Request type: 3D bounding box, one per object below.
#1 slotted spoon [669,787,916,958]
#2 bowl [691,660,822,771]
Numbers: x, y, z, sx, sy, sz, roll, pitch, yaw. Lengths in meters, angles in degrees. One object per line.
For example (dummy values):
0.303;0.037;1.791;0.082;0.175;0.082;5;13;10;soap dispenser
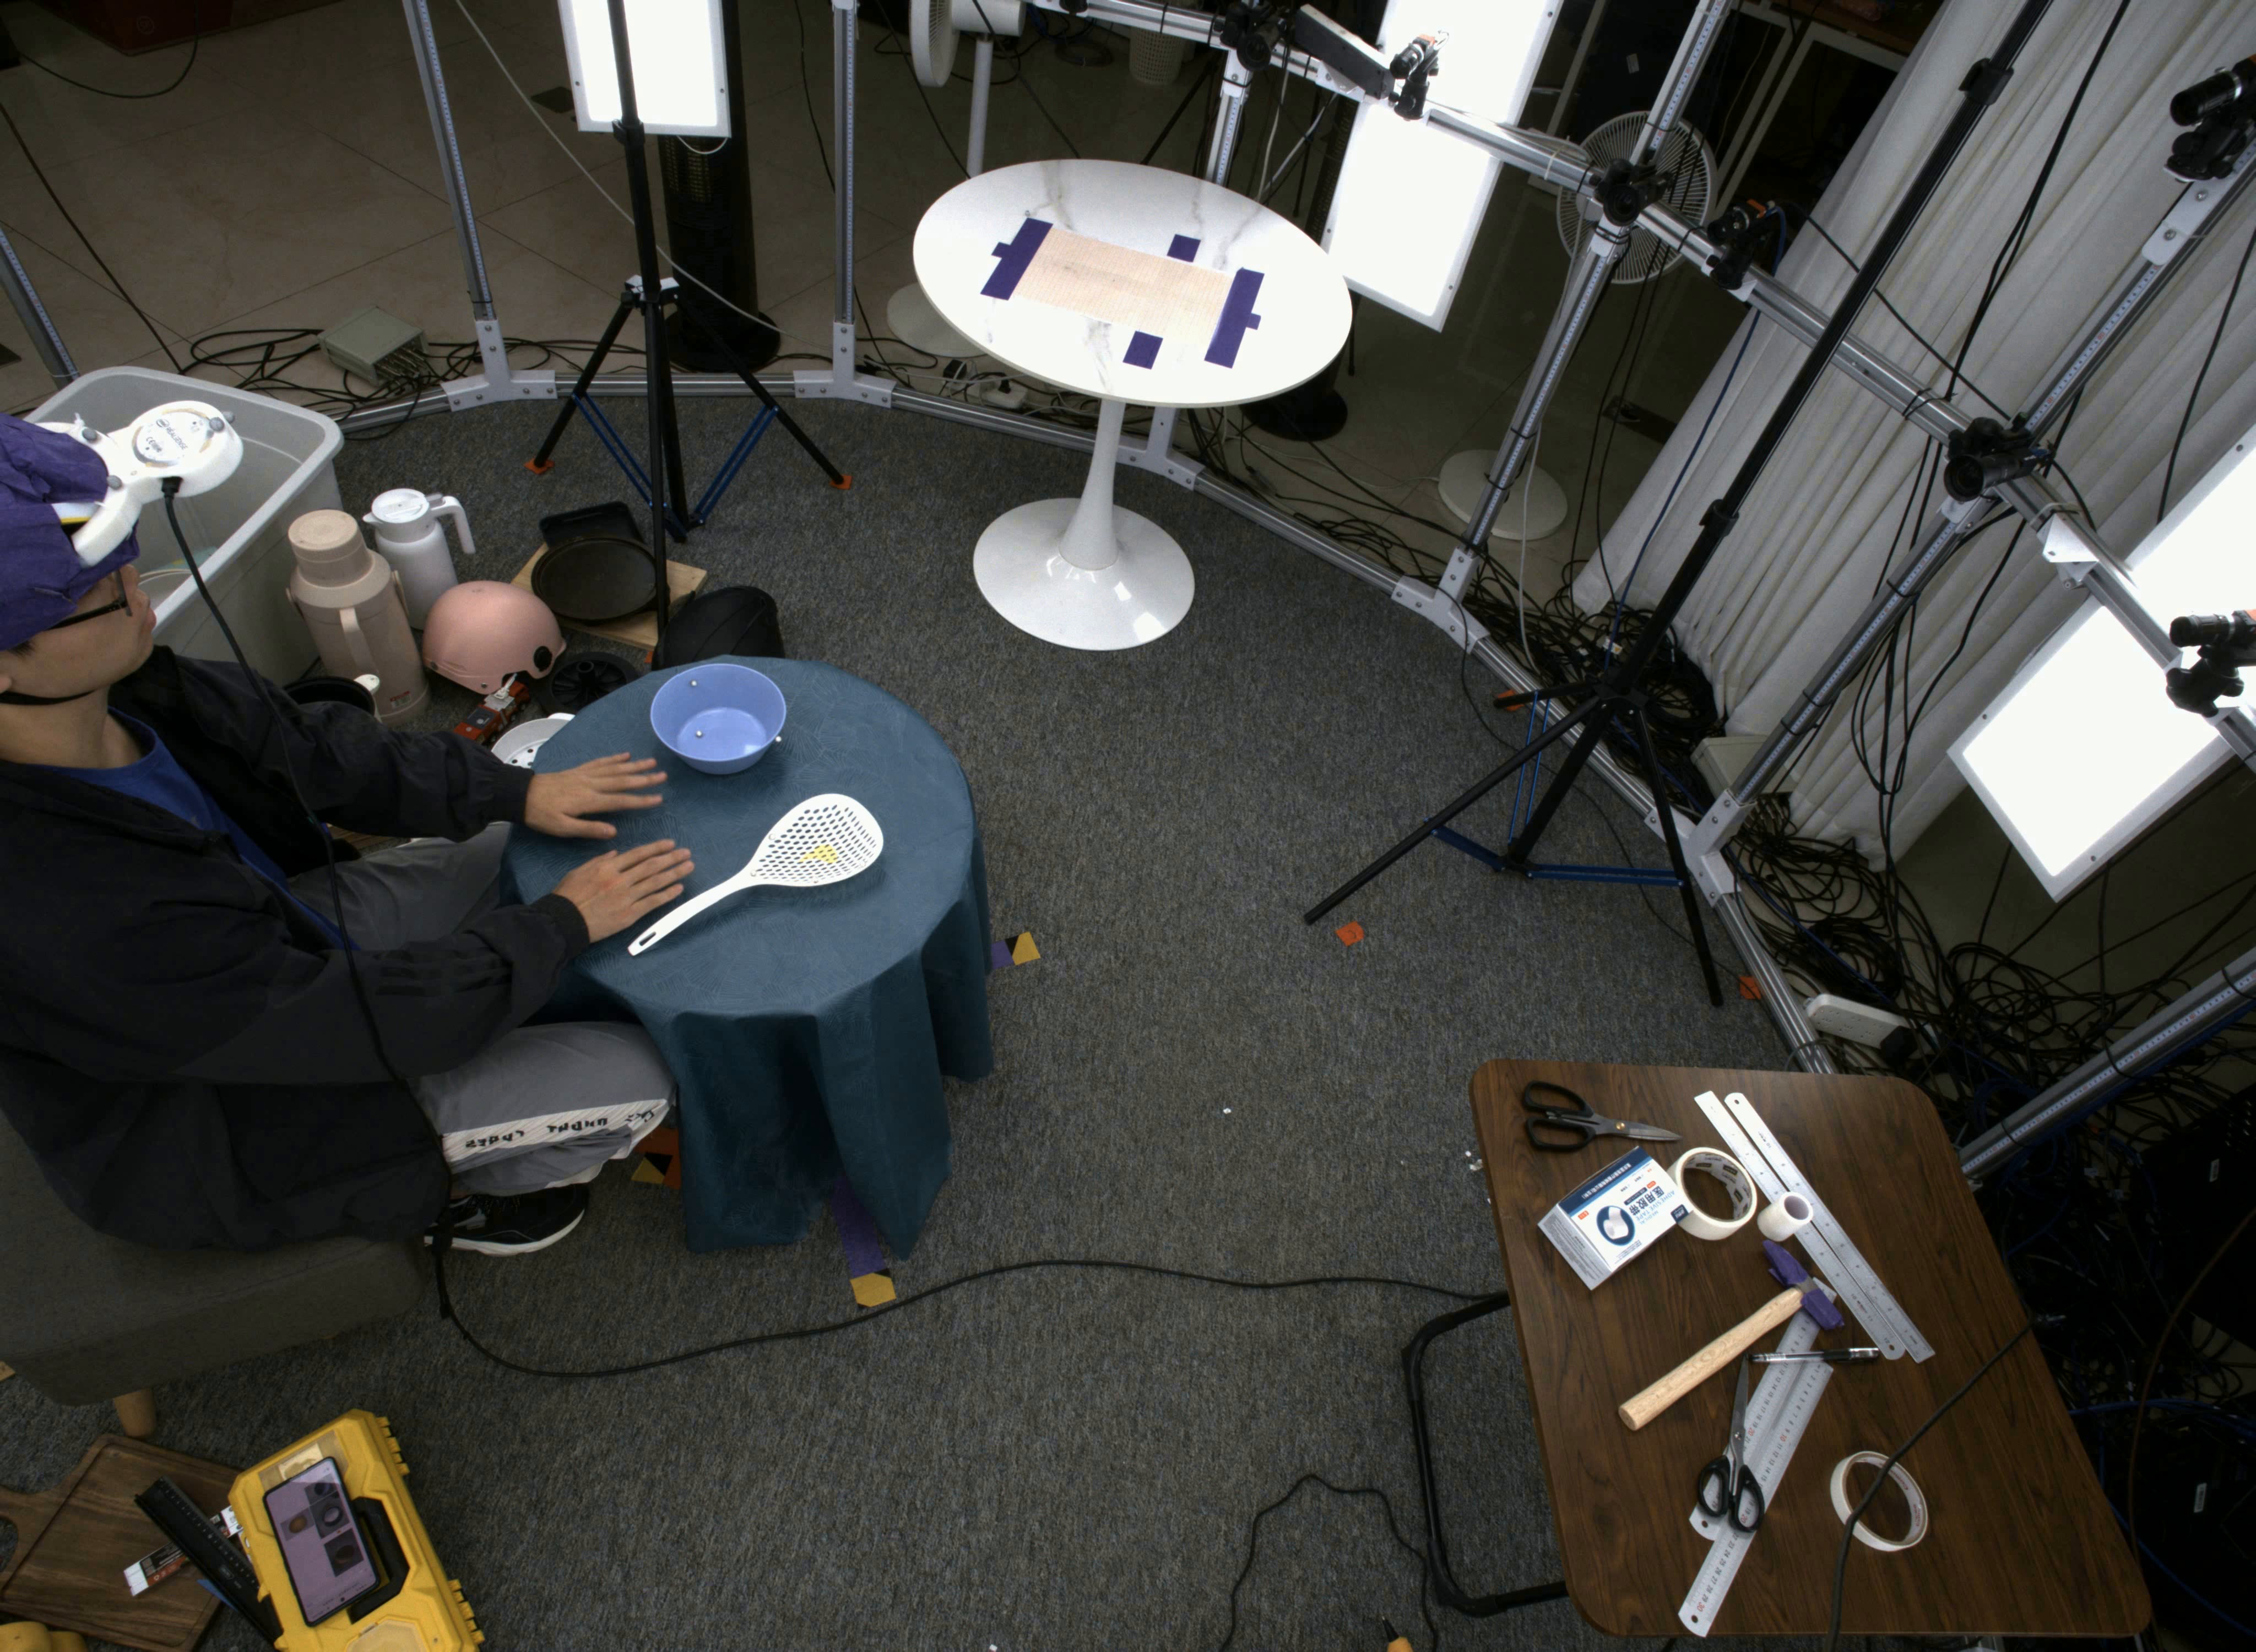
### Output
-0.433;0.064;1.657;0.349;0.051;0.134;-29;68;-29;slotted spoon
-0.507;-0.141;1.772;0.175;0.072;0.173;7;52;-8;bowl
